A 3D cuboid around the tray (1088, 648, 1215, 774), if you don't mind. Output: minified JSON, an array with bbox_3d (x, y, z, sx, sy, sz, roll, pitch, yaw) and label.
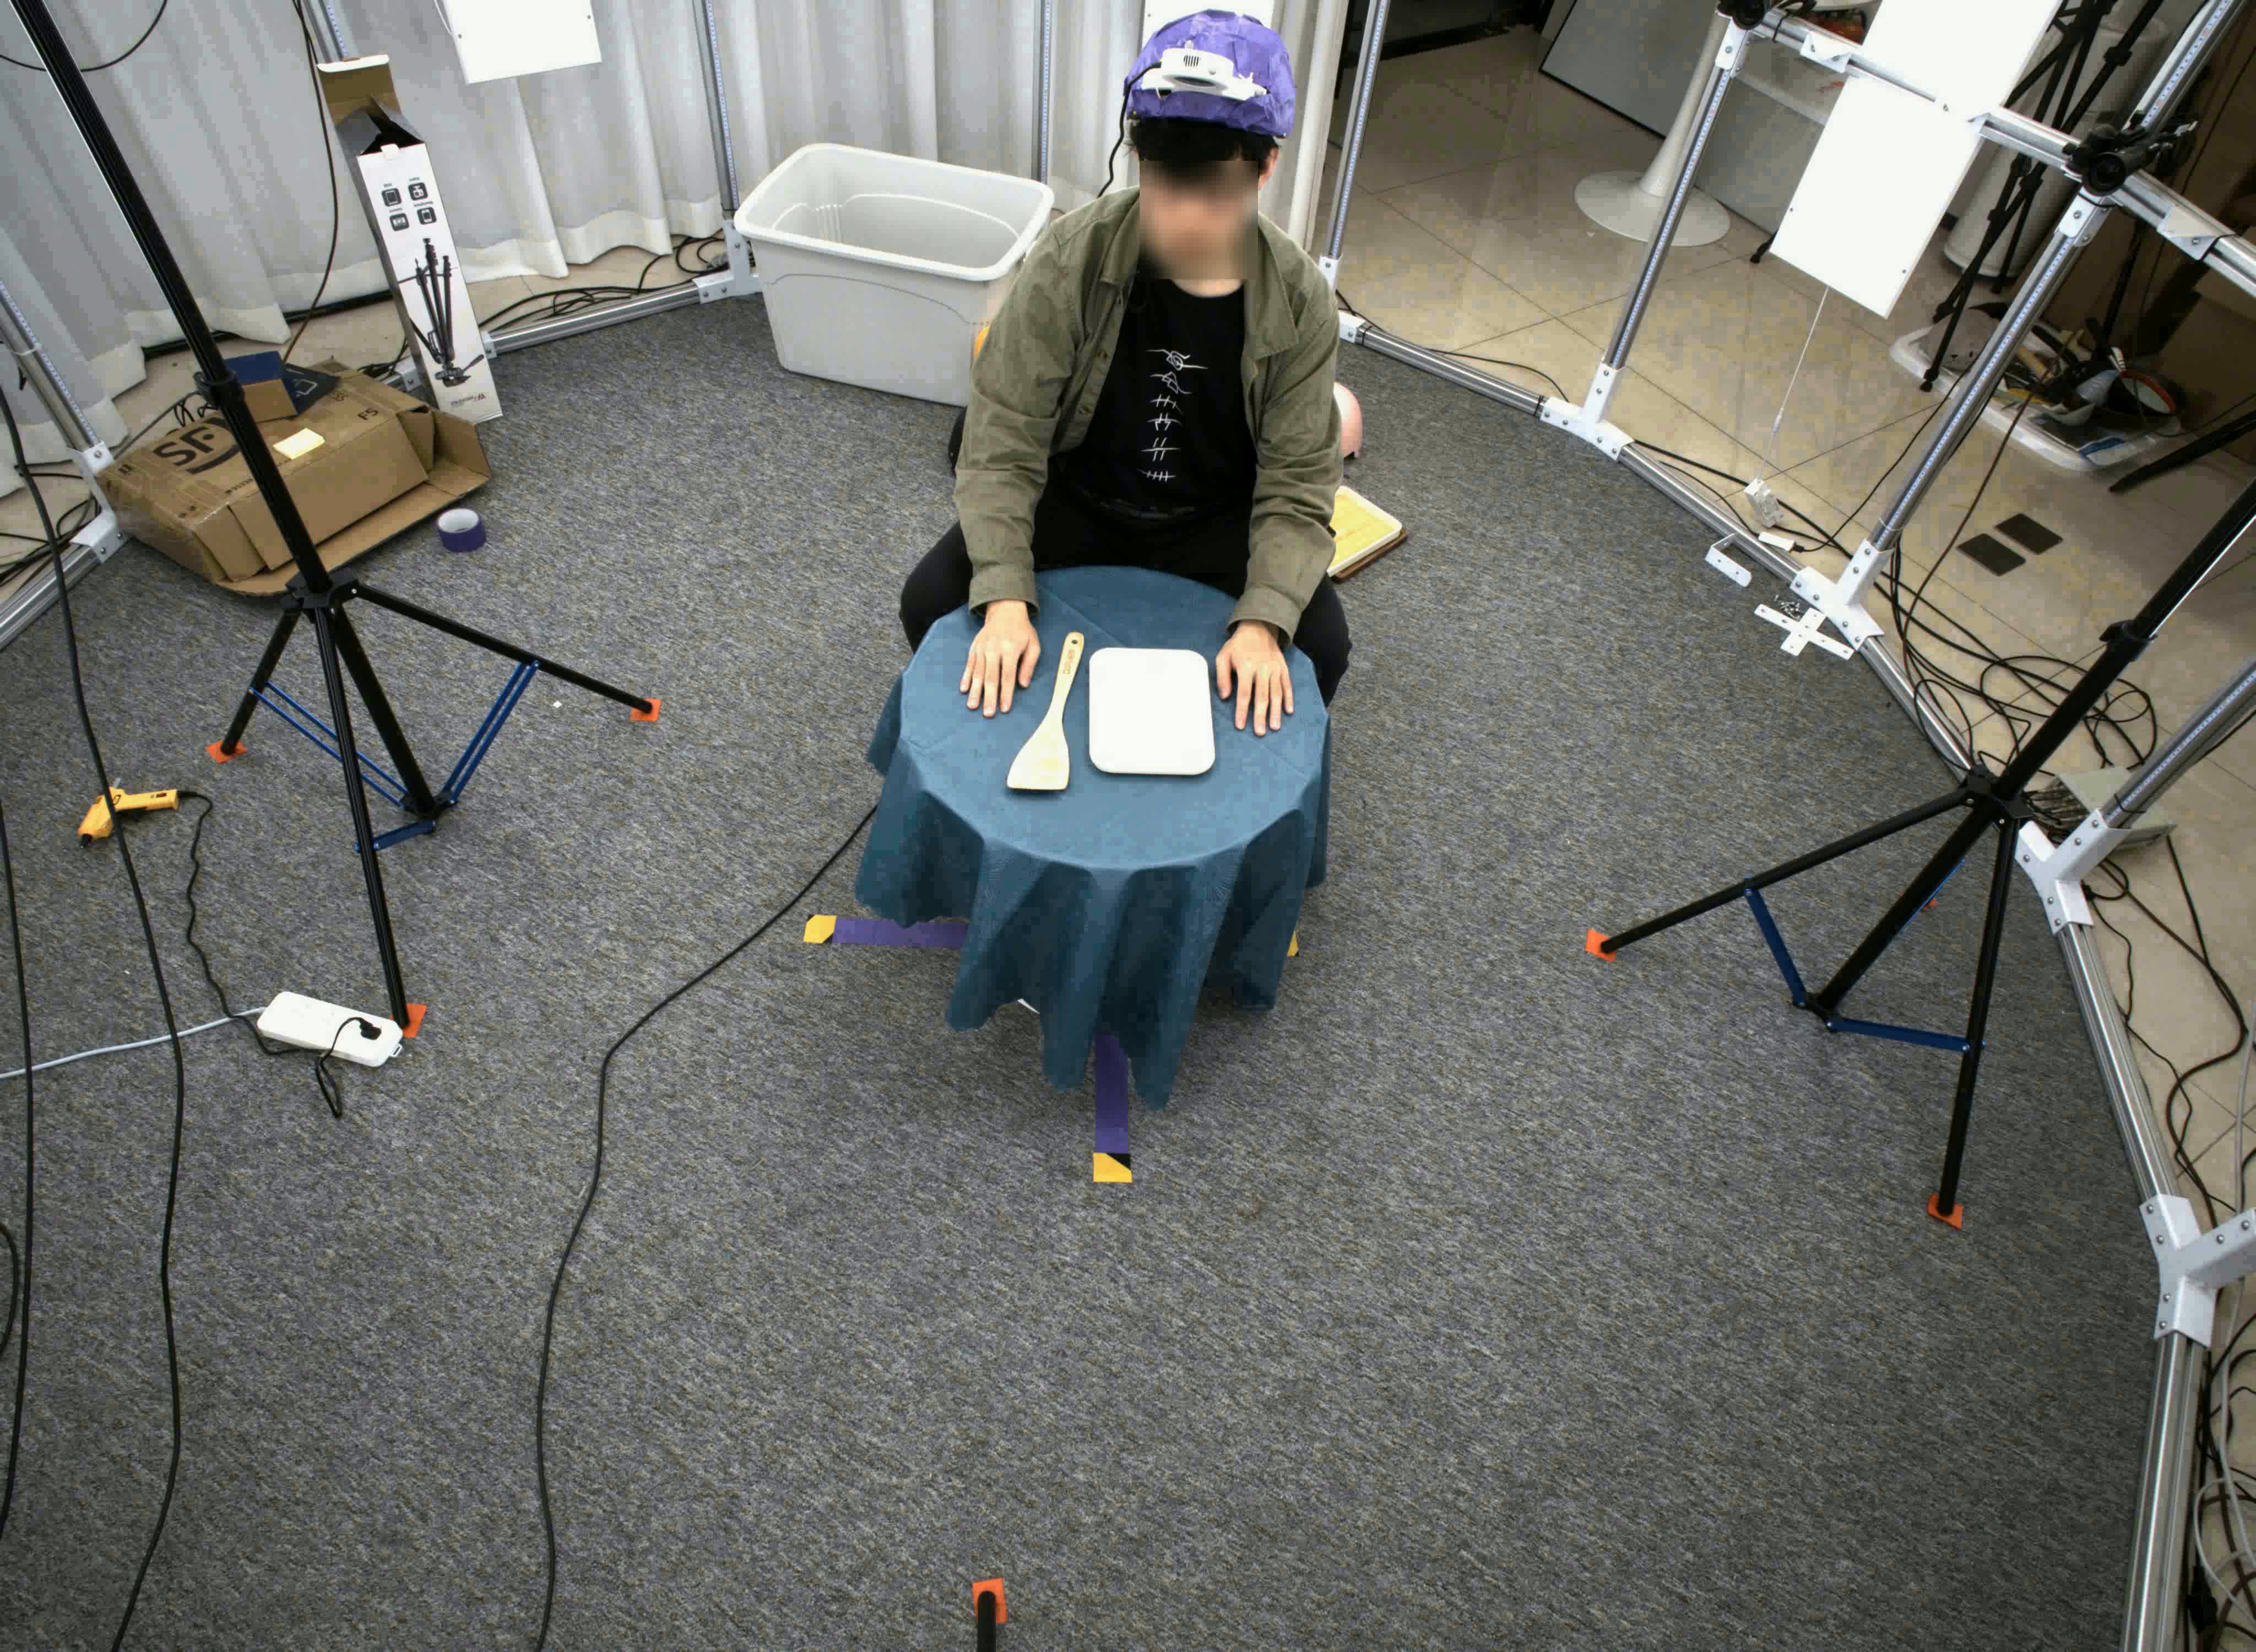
[{"bbox_3d":[0.030,-0.161,1.790,0.171,0.017,0.246,2,48,-4],"label":"tray"}]

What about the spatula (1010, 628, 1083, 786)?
[{"bbox_3d":[-0.097,-0.170,1.788,0.080,0.016,0.335,8,49,2],"label":"spatula"}]
